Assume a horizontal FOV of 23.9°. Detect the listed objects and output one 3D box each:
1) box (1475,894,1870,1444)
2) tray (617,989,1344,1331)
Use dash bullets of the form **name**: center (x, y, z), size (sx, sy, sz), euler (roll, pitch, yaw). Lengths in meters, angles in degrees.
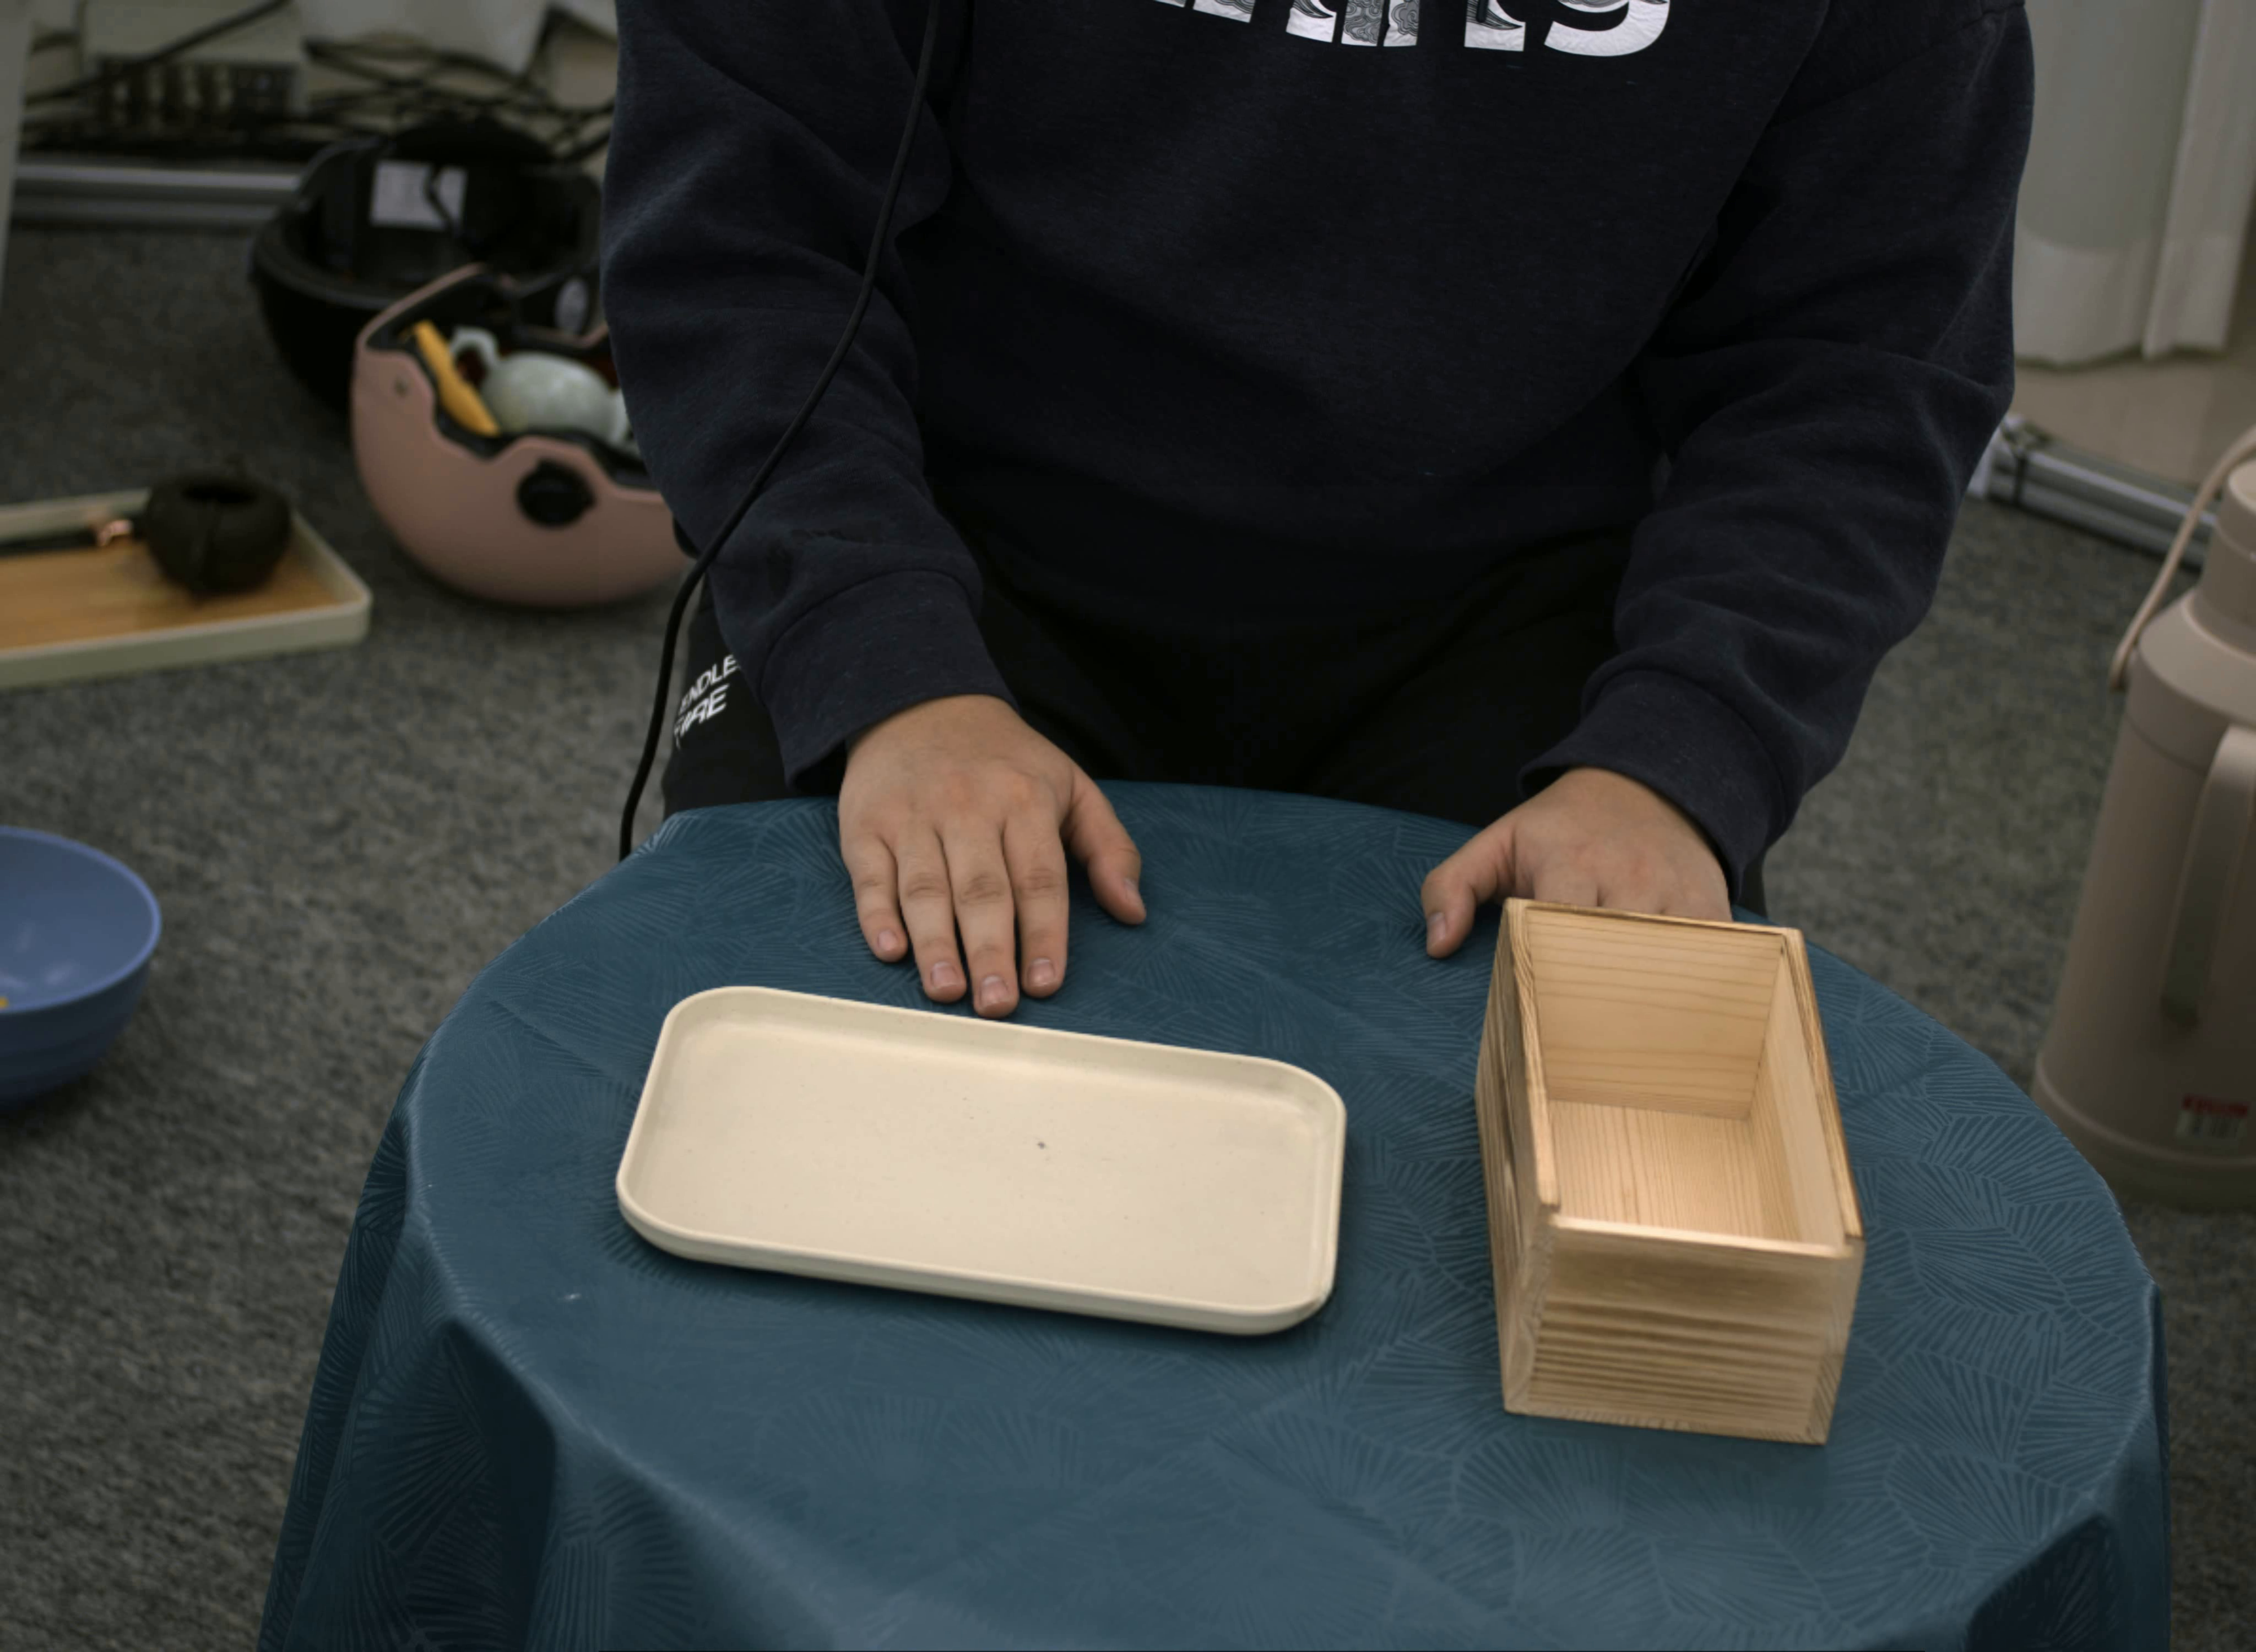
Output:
- **box**: center (0.178, 0.112, 1.784), size (0.107, 0.080, 0.212), euler (6, 26, -3)
- **tray**: center (-0.047, 0.113, 1.796), size (0.239, 0.017, 0.172), euler (8, 26, 1)
